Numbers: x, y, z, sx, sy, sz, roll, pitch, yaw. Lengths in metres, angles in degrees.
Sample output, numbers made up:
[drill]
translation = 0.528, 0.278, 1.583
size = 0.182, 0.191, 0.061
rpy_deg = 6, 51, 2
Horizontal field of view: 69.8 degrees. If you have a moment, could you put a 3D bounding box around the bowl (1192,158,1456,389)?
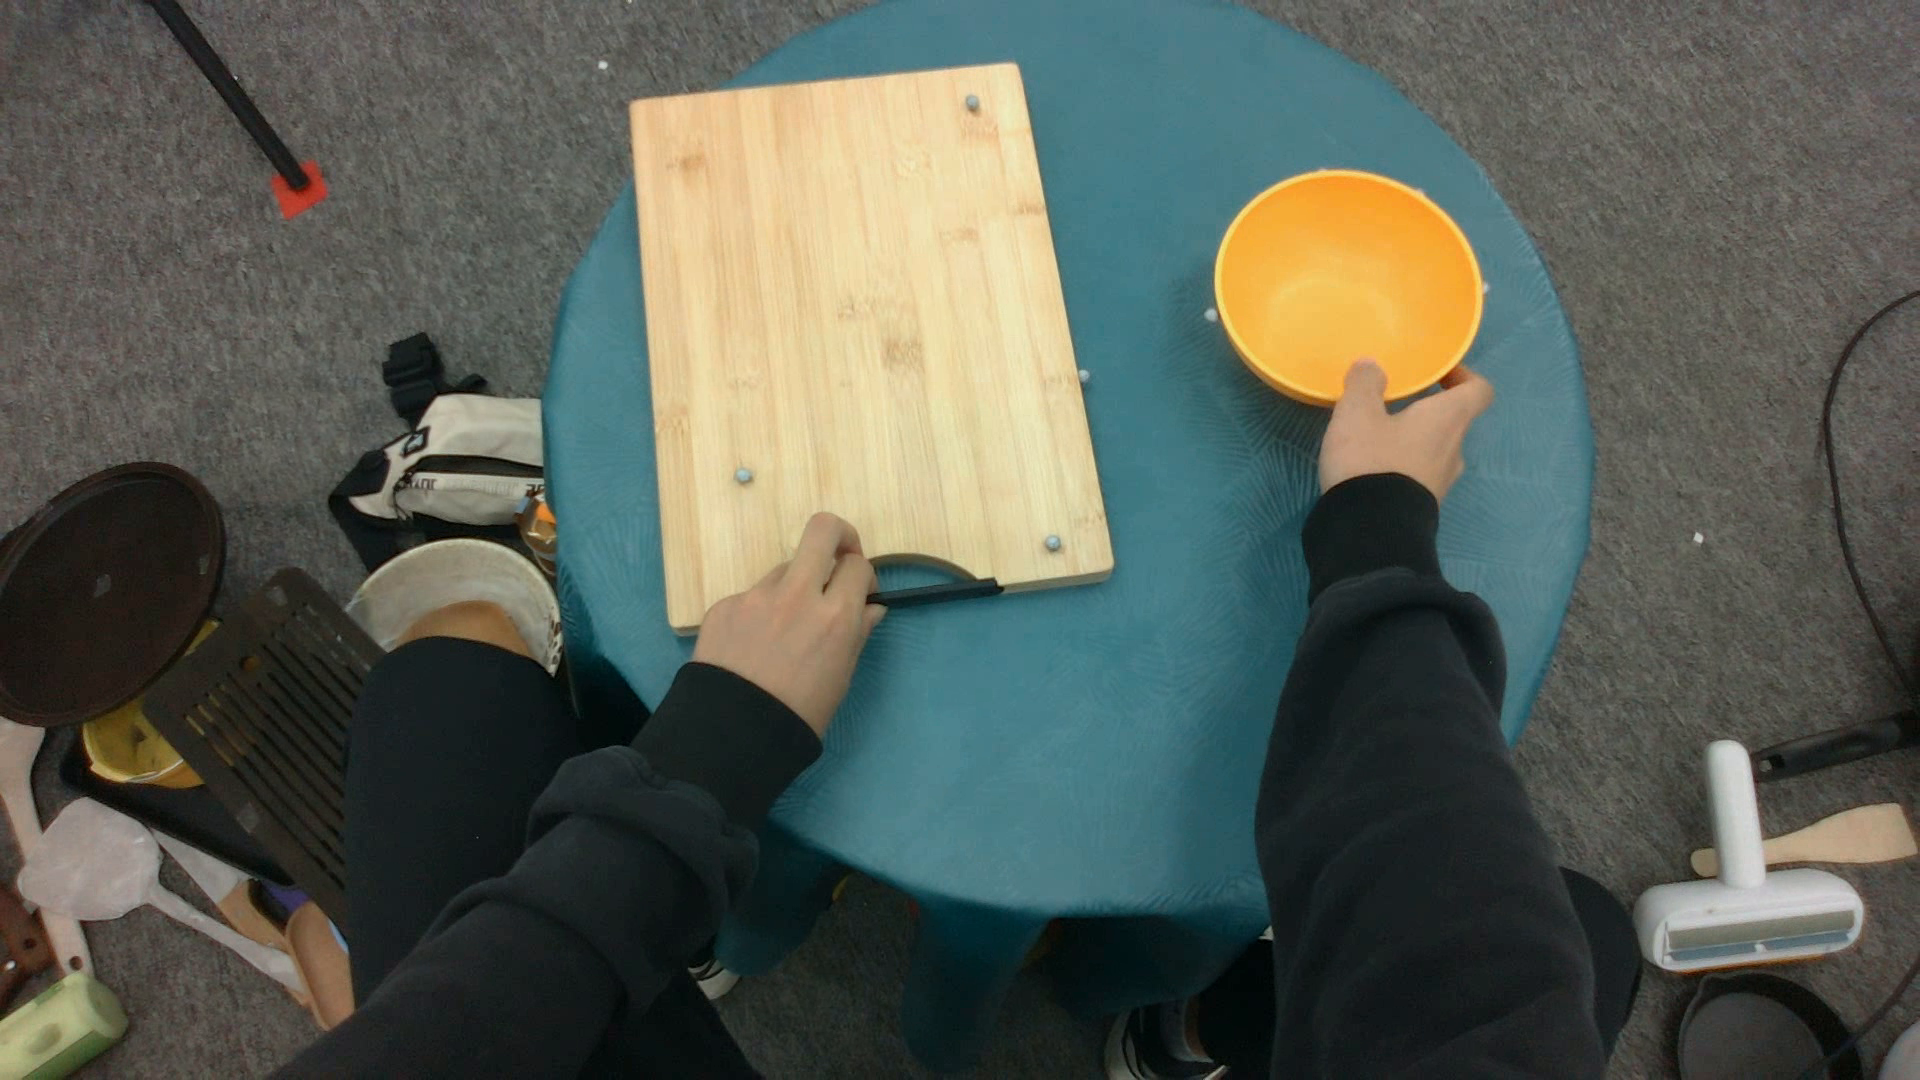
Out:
[bowl]
translation = 0.202, -0.142, 0.789
size = 0.145, 0.060, 0.146
rpy_deg = -1, 70, 2

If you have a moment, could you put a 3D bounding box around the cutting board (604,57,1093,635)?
[cutting board]
translation = -0.073, -0.127, 0.794
size = 0.251, 0.023, 0.349
rpy_deg = -8, 70, -5
